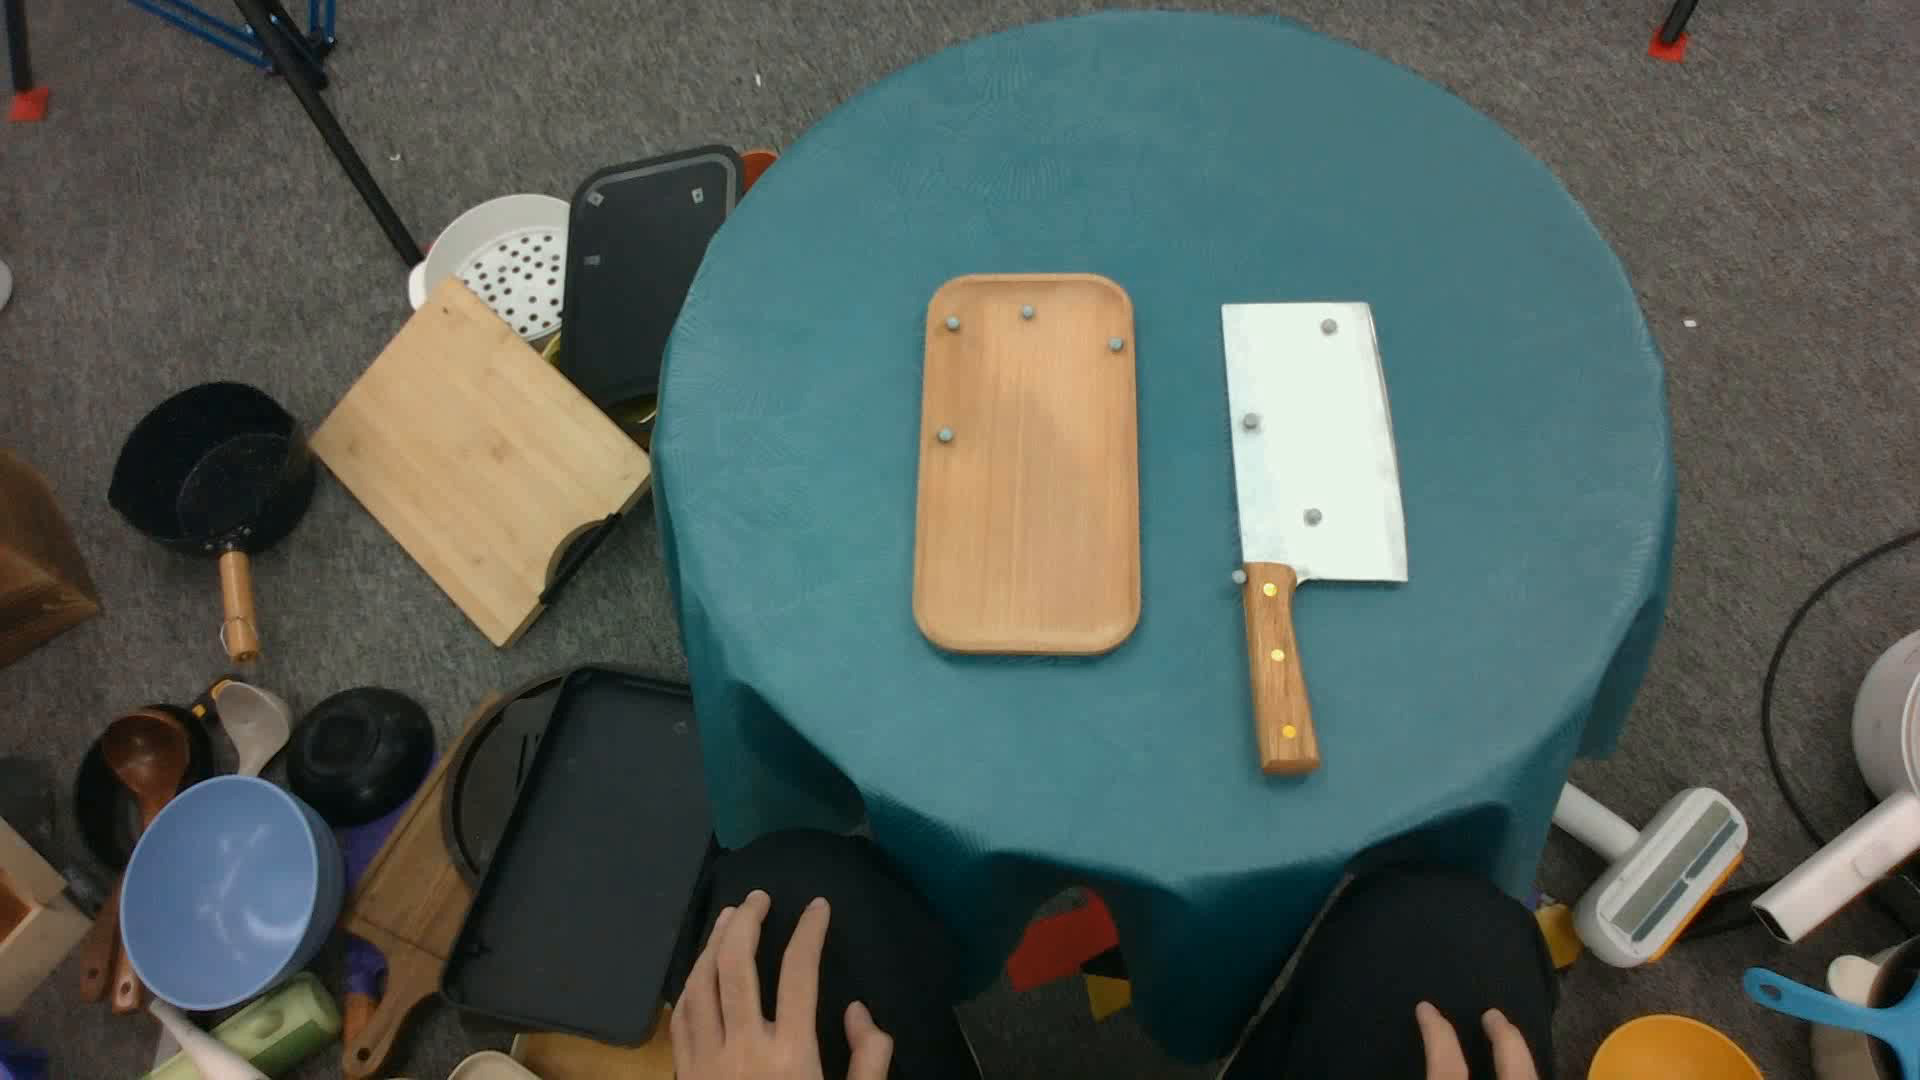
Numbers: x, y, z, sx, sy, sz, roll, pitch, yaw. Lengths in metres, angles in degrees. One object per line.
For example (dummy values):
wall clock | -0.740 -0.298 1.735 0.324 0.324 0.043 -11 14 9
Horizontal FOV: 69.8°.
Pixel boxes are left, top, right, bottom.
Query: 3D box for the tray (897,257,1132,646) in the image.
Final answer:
tray | 0.035 -0.057 0.800 0.130 0.023 0.251 2 66 6

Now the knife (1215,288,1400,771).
knife | 0.197 -0.018 0.774 0.093 0.021 0.307 1 62 2
